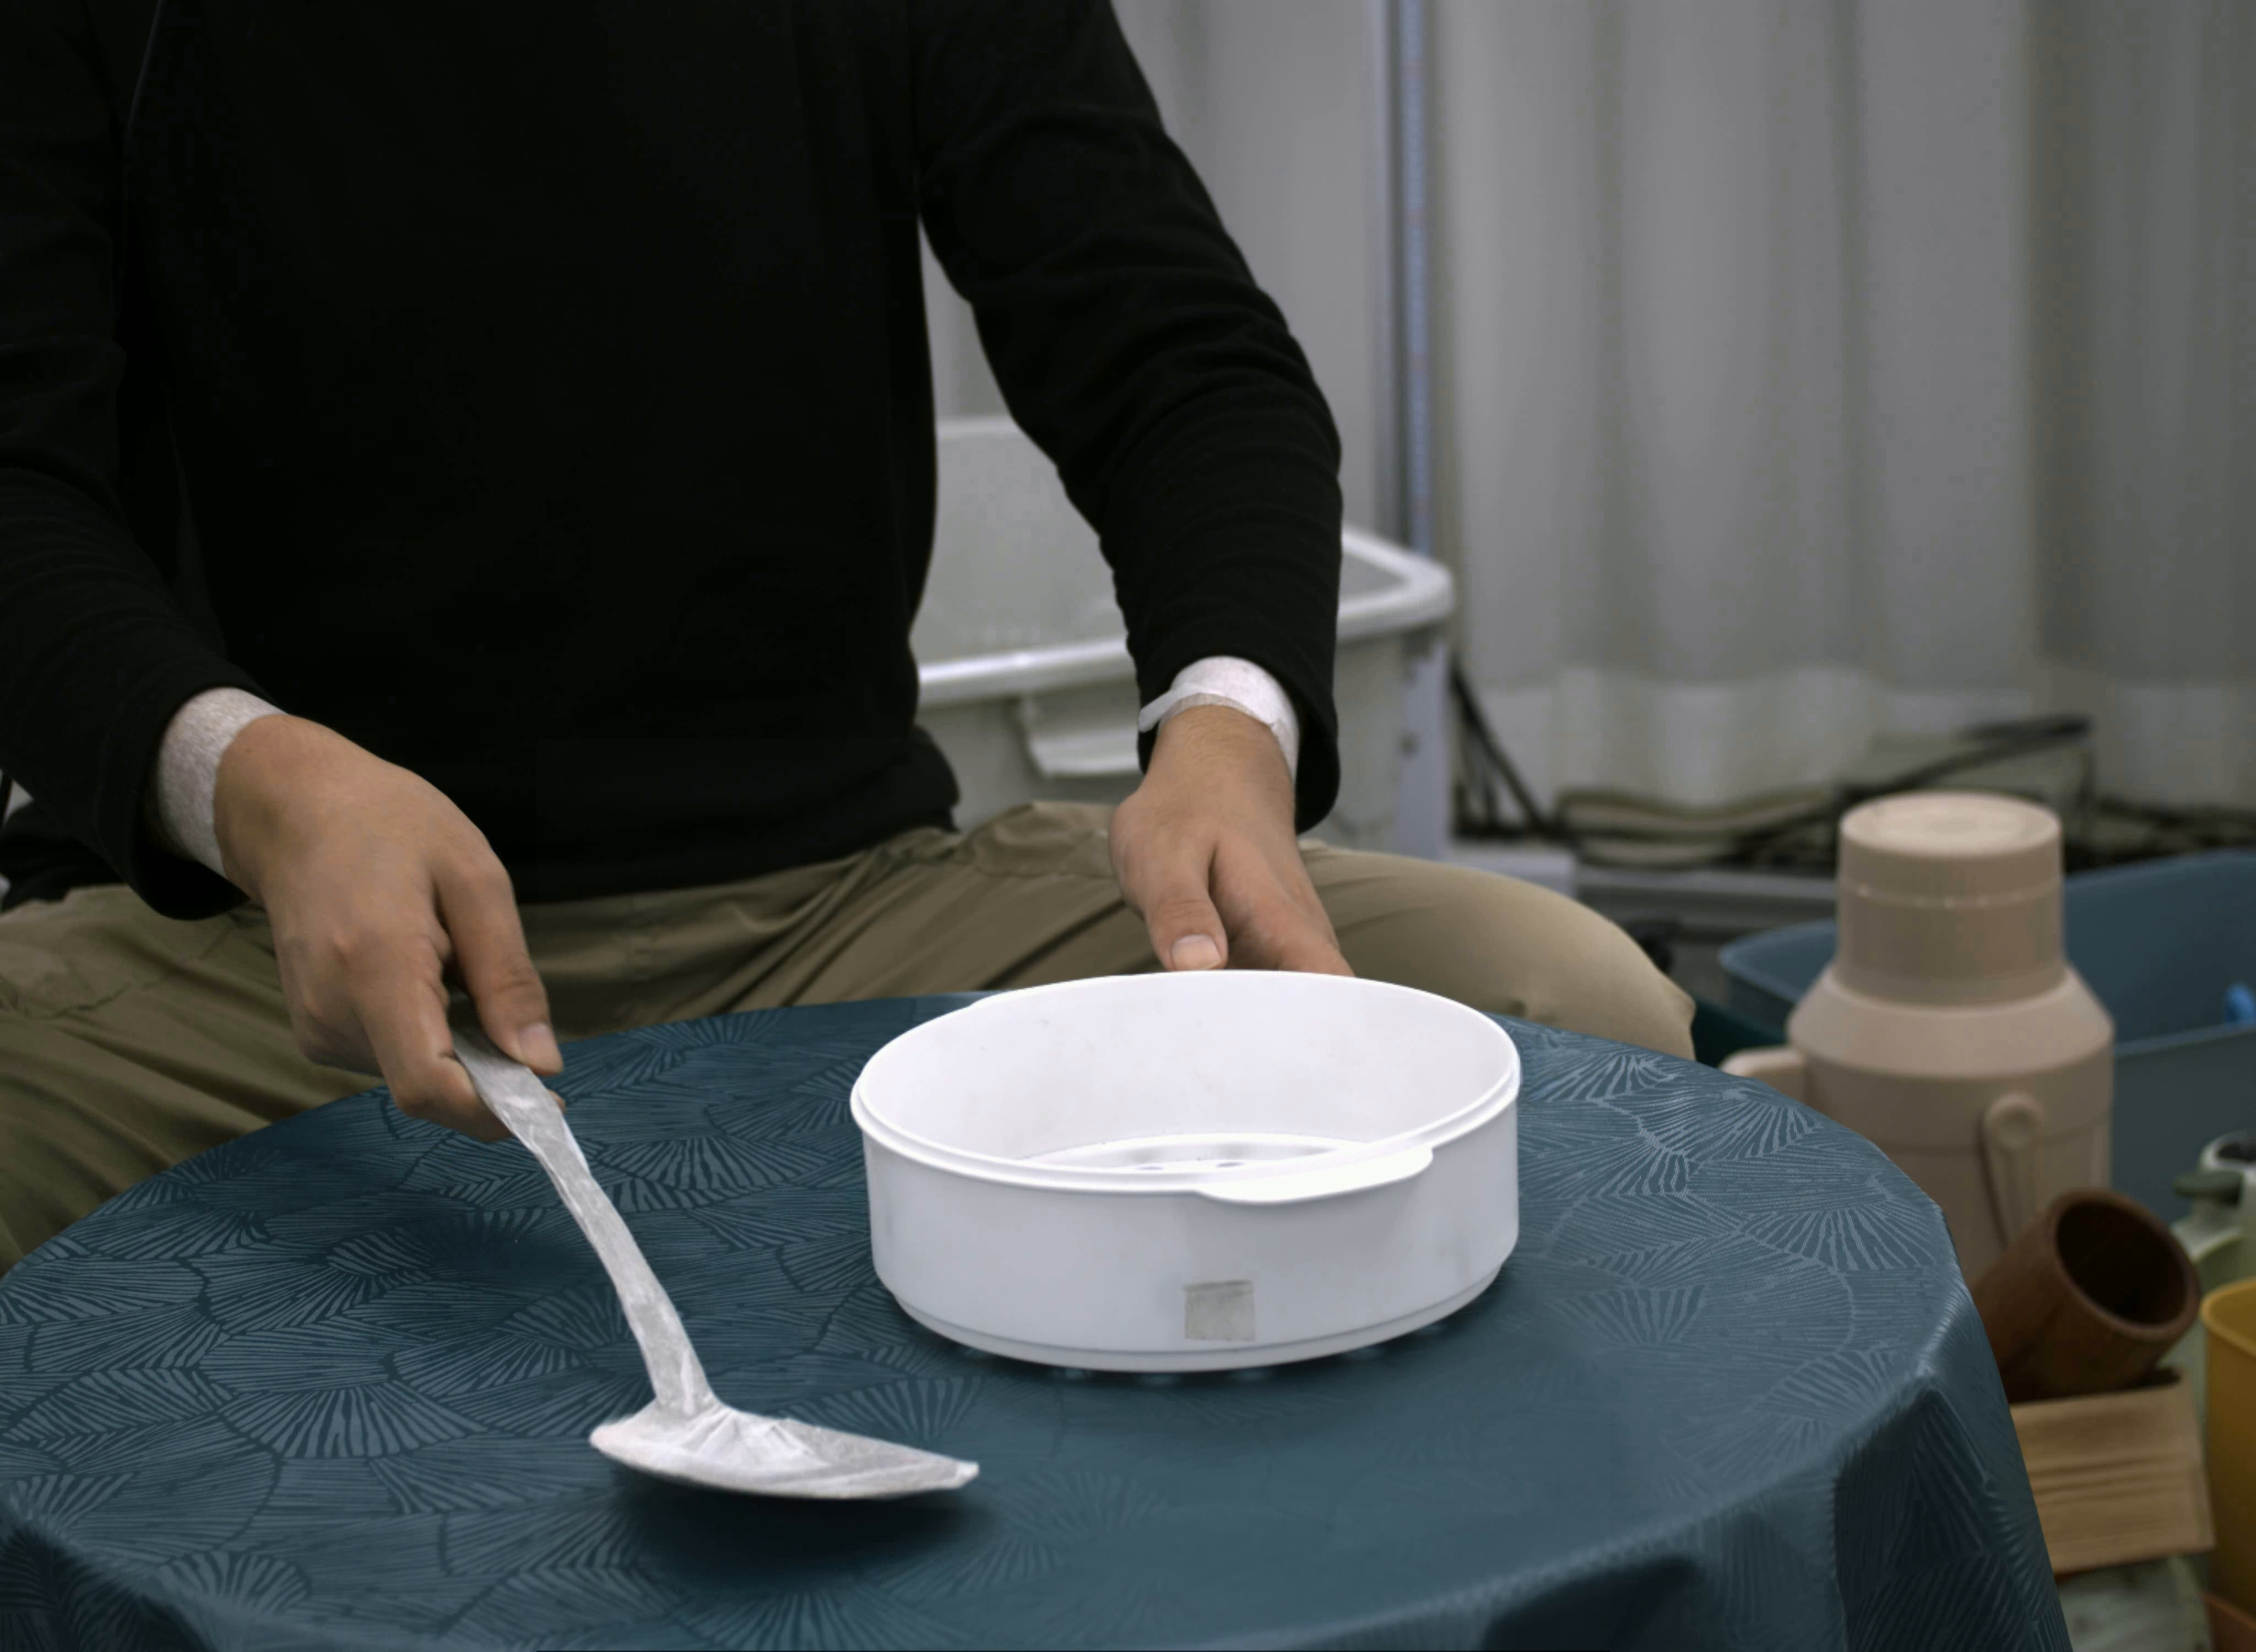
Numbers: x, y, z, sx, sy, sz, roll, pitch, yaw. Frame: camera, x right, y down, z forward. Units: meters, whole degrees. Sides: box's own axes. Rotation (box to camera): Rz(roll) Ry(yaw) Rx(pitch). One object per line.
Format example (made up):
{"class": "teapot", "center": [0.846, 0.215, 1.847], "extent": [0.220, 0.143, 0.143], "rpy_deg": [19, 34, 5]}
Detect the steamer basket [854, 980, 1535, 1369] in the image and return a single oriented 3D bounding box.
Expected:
{"class": "steamer basket", "center": [0.021, 0.103, 1.620], "extent": [0.201, 0.069, 0.232], "rpy_deg": [-7, 14, -20]}

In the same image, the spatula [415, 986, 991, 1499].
{"class": "spatula", "center": [-0.148, 0.112, 1.576], "extent": [0.098, 0.044, 0.369], "rpy_deg": [2, 25, -27]}
